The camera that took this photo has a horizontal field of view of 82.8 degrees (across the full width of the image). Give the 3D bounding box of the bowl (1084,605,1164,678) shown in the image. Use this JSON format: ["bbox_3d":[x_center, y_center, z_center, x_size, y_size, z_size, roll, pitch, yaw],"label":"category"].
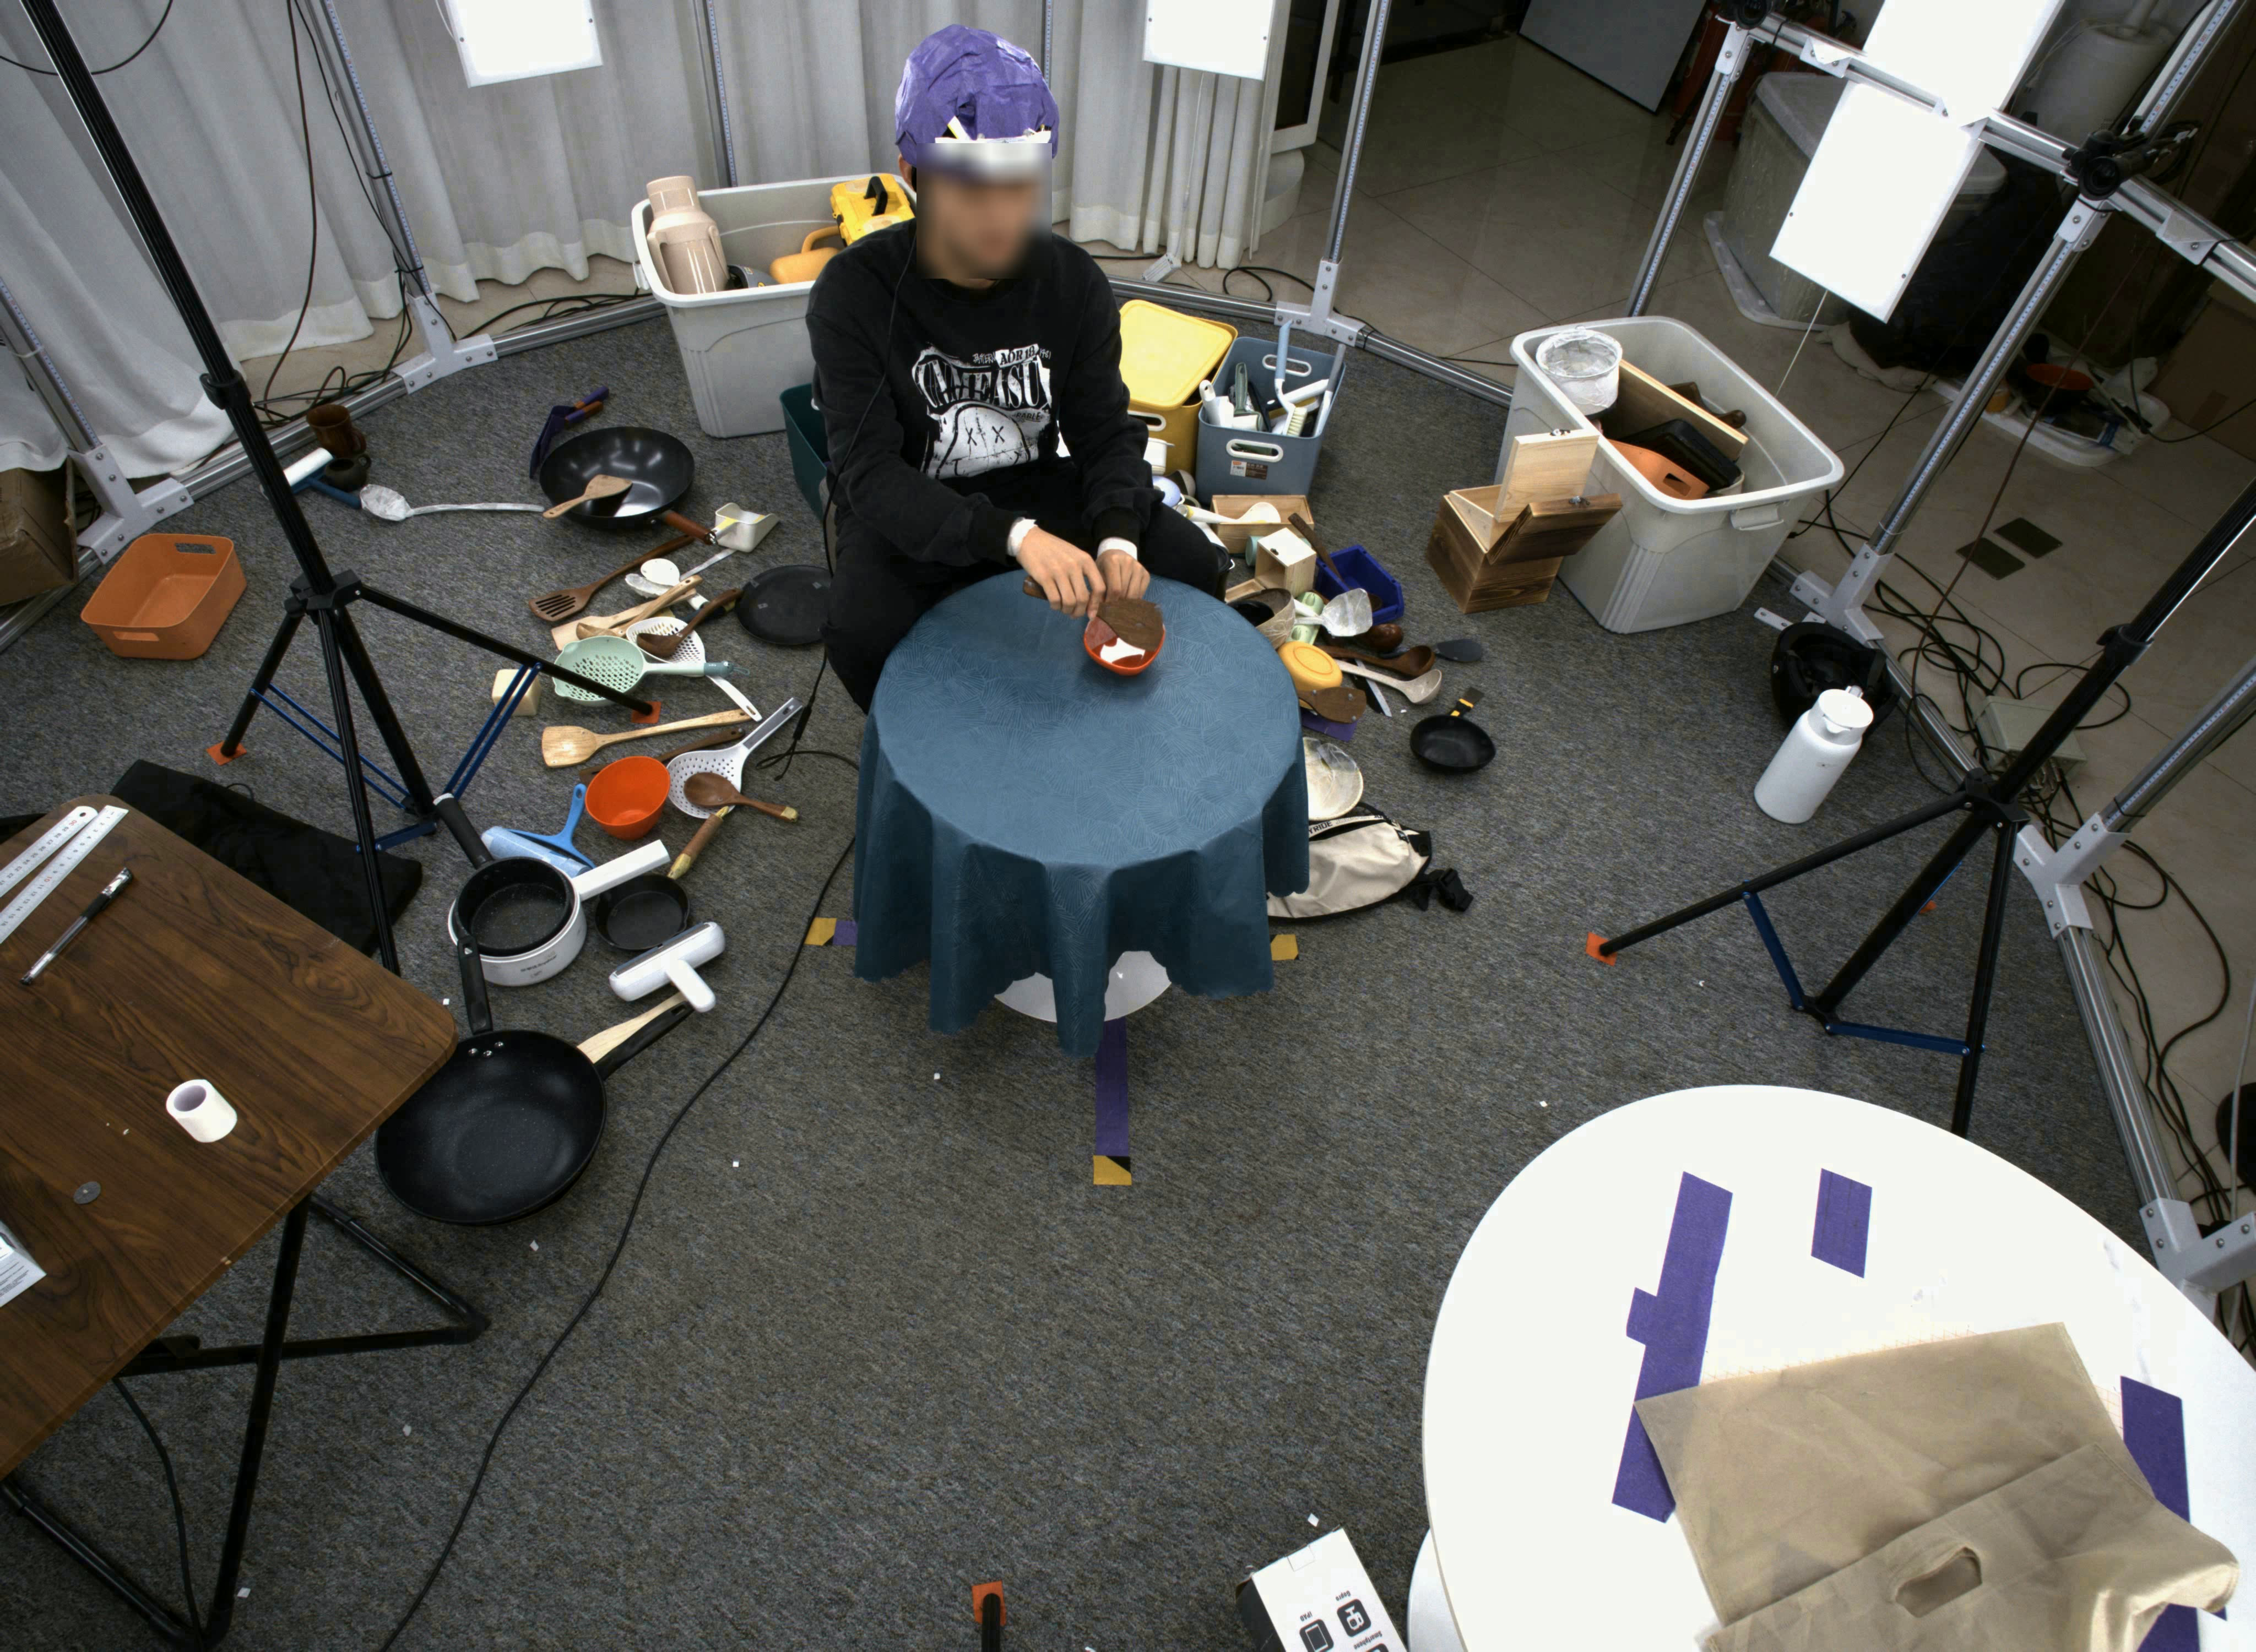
[{"bbox_3d":[-0.006,-0.261,1.871,0.119,0.050,0.121,1,62,-2],"label":"bowl"}]

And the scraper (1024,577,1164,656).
[{"bbox_3d":[-0.048,-0.304,1.813,0.209,0.011,0.076,17,76,-19],"label":"scraper"}]
